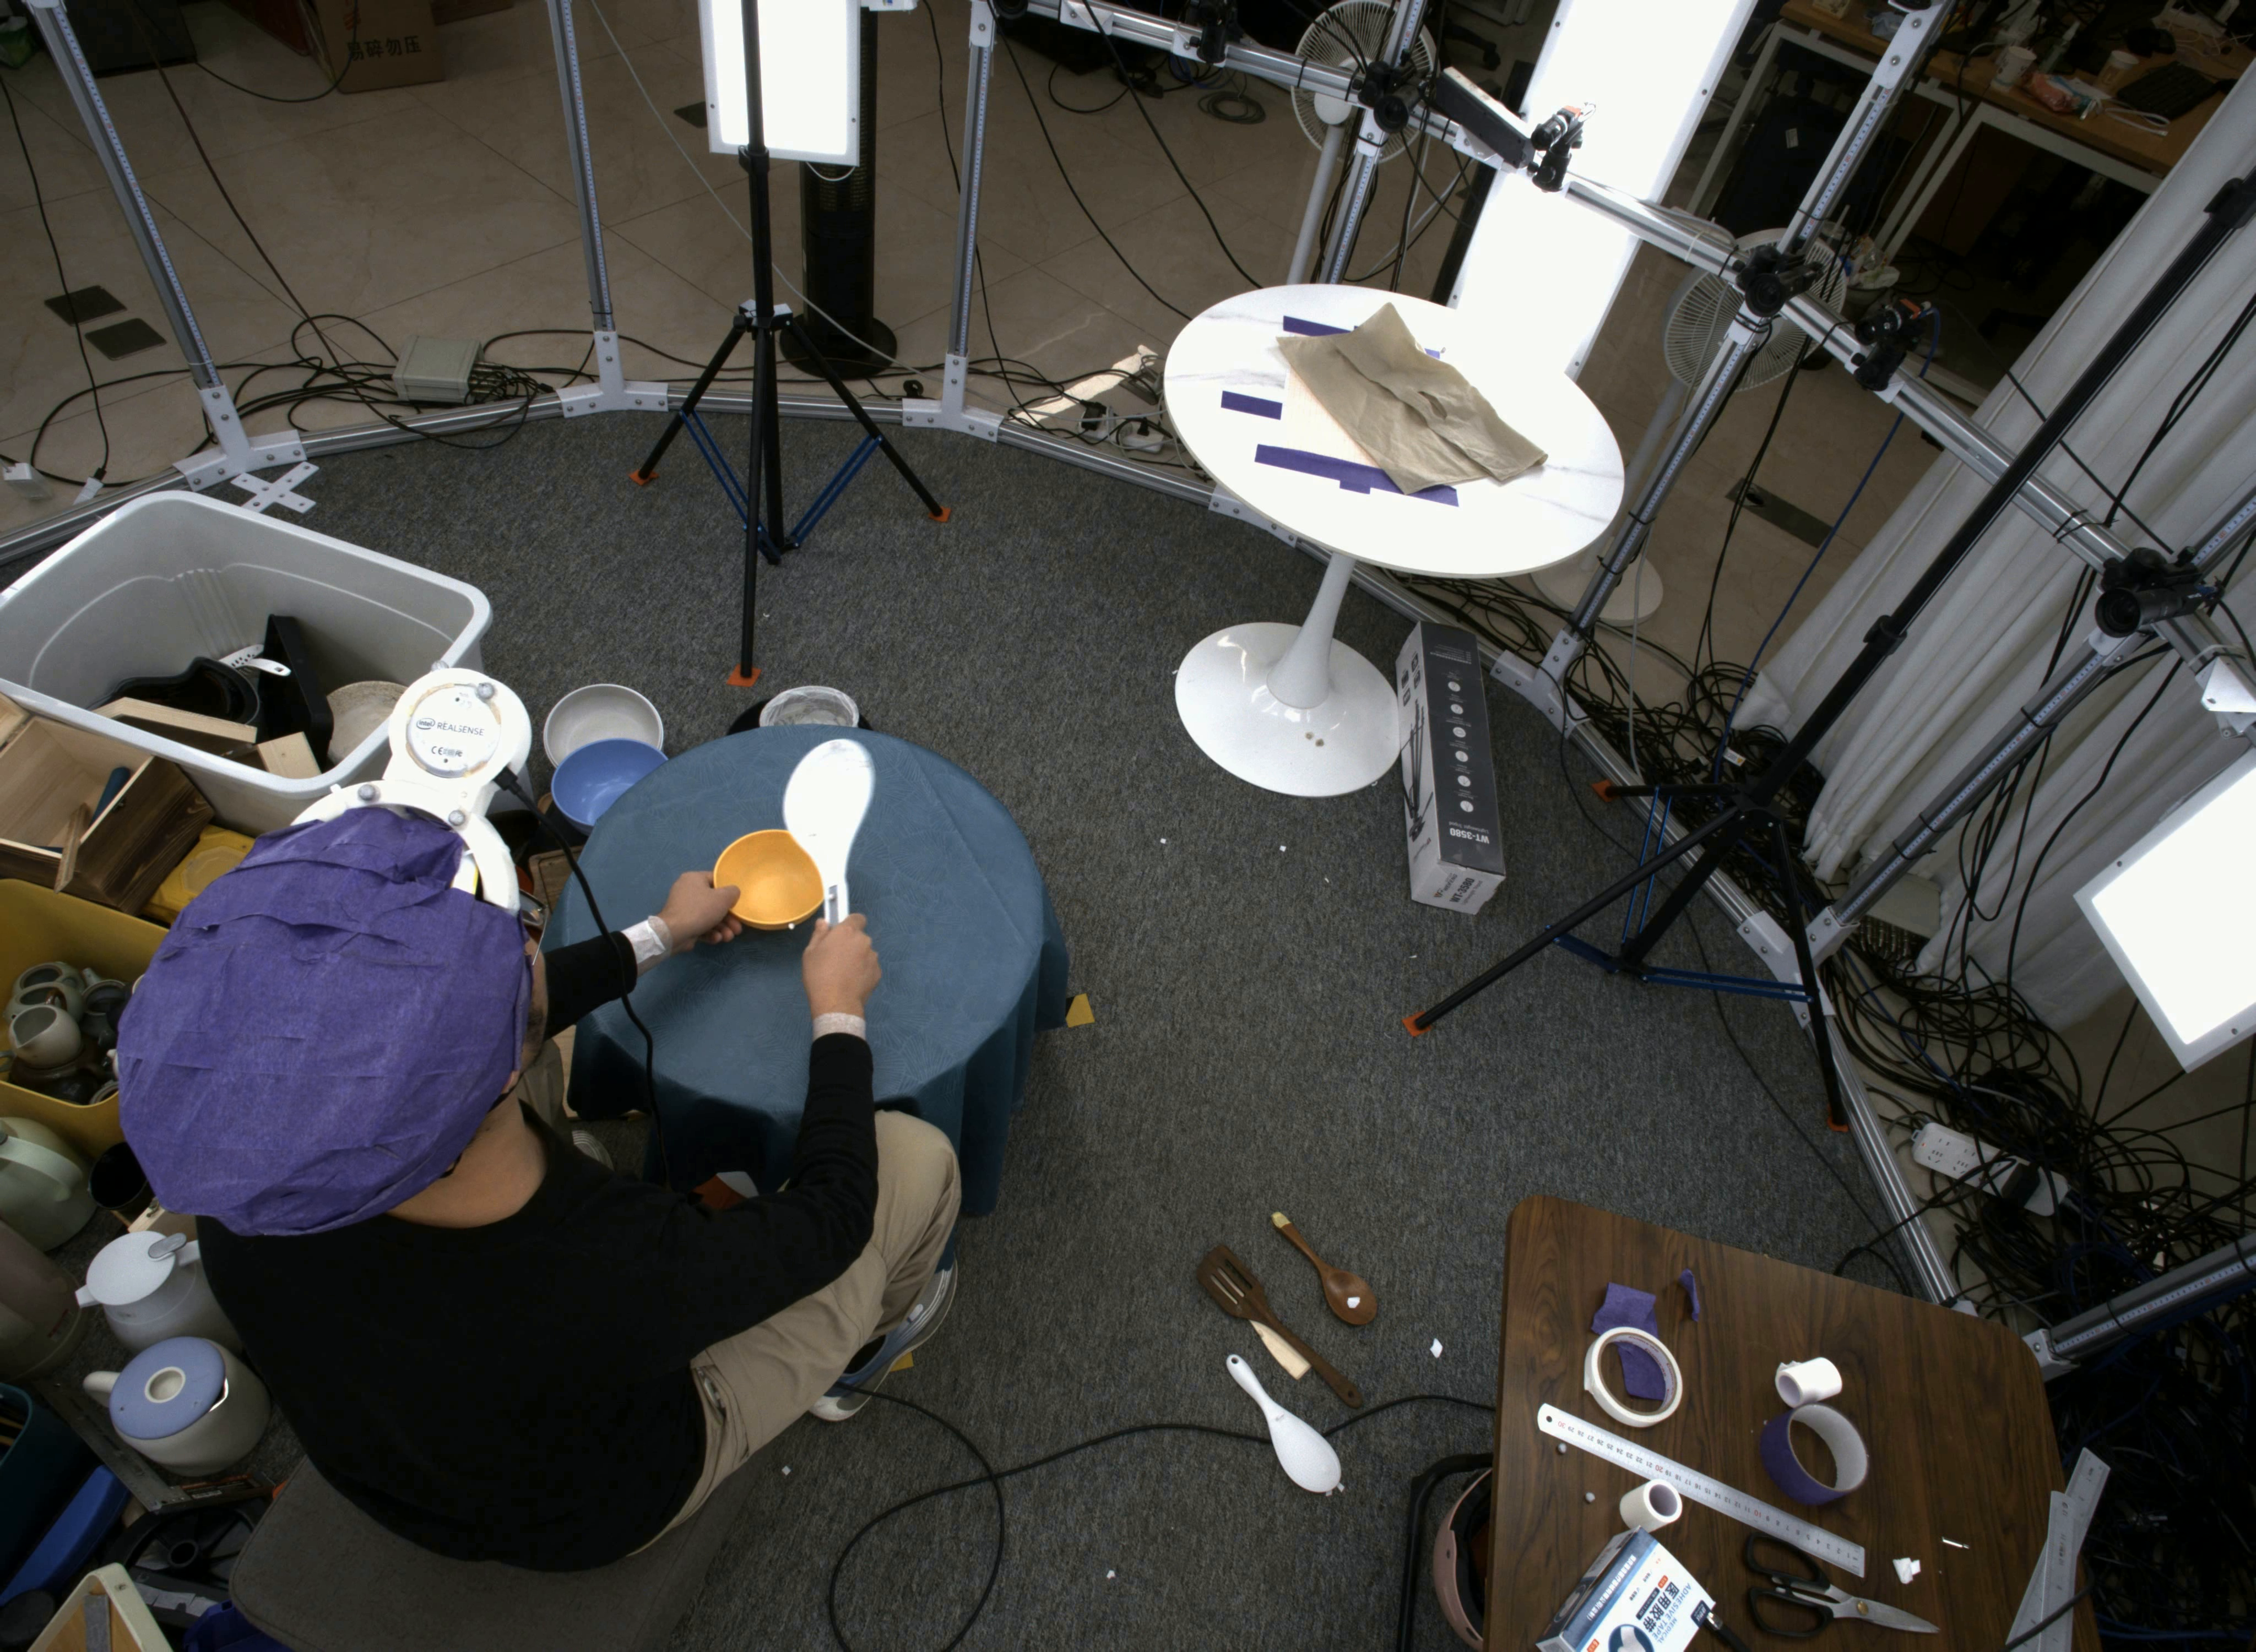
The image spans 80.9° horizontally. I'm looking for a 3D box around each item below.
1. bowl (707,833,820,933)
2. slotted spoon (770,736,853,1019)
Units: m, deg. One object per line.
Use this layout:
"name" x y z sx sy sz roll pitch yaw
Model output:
"bowl" -0.449 0.081 1.615 0.145 0.061 0.142 7 50 -7
"slotted spoon" -0.358 0.055 1.520 0.047 0.134 0.344 30 43 -52
